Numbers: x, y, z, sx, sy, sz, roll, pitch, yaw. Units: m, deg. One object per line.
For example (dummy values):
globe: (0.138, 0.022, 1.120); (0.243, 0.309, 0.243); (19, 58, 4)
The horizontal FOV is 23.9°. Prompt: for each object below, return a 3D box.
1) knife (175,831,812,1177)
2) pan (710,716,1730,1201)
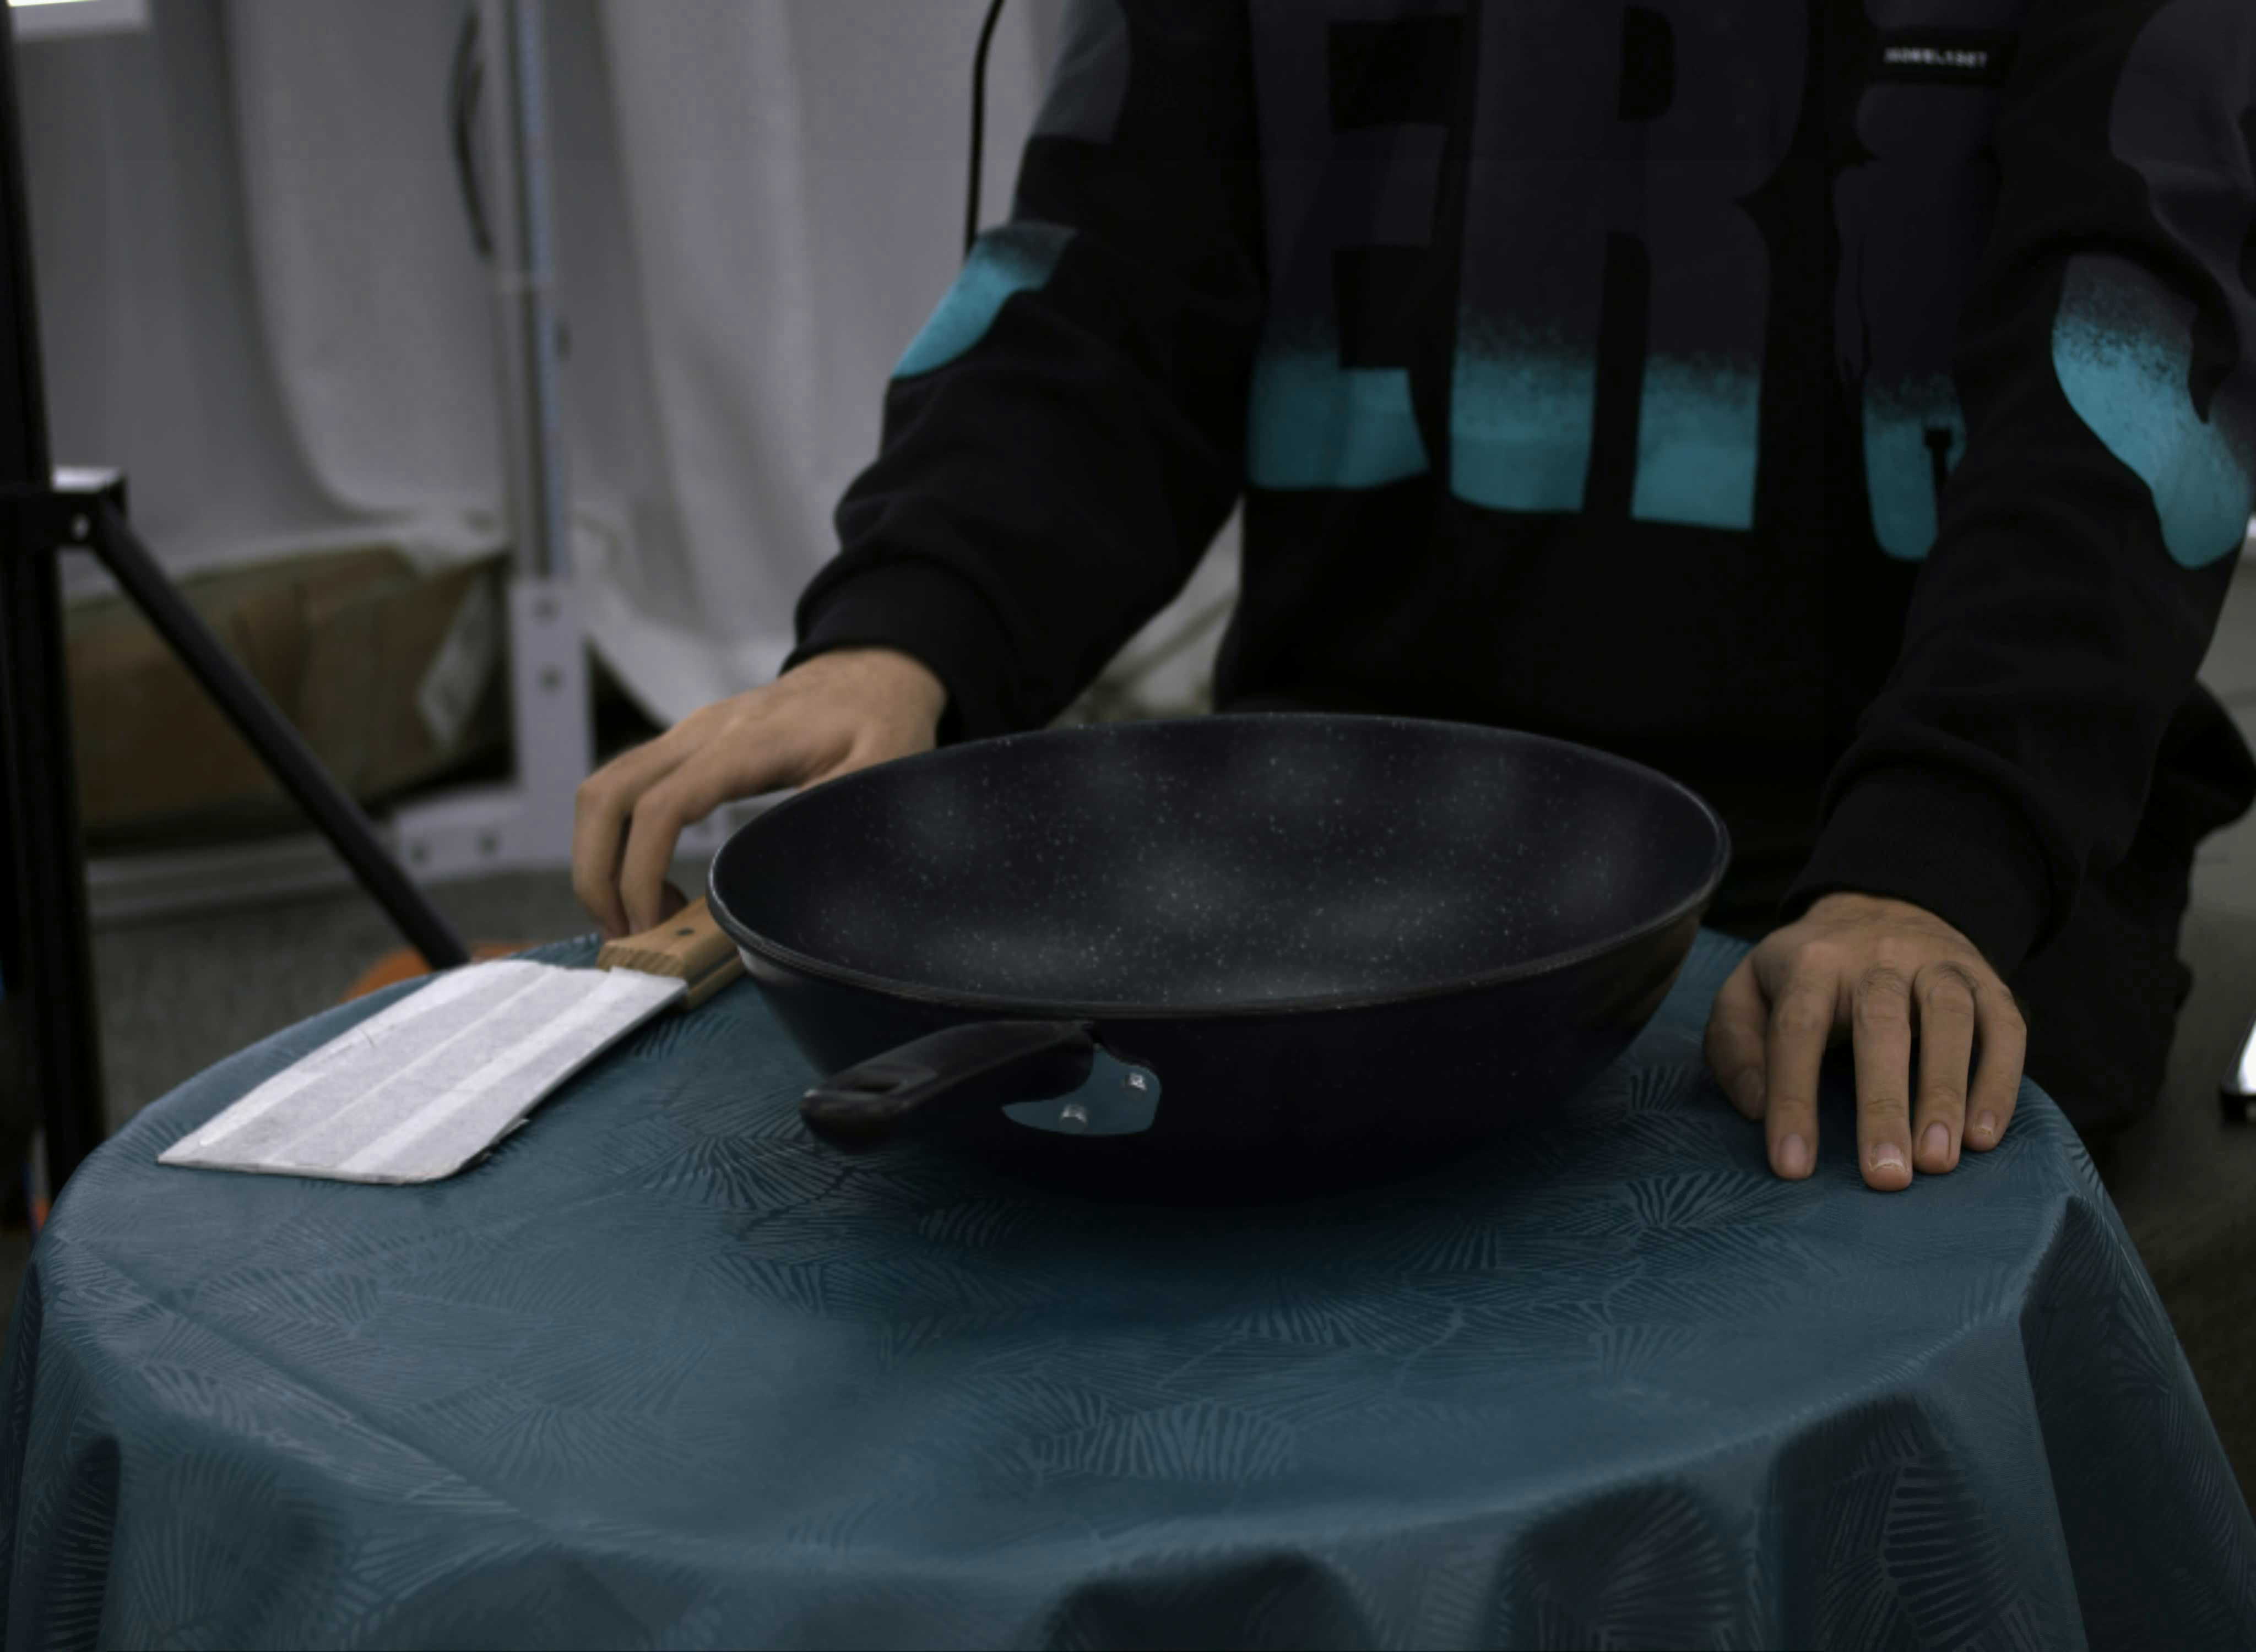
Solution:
knife: (-0.183, 0.058, 1.733); (0.116, 0.022, 0.310); (6, 20, 28)
pan: (0.004, 0.058, 1.540); (0.313, 0.111, 0.472); (1, 16, 19)
